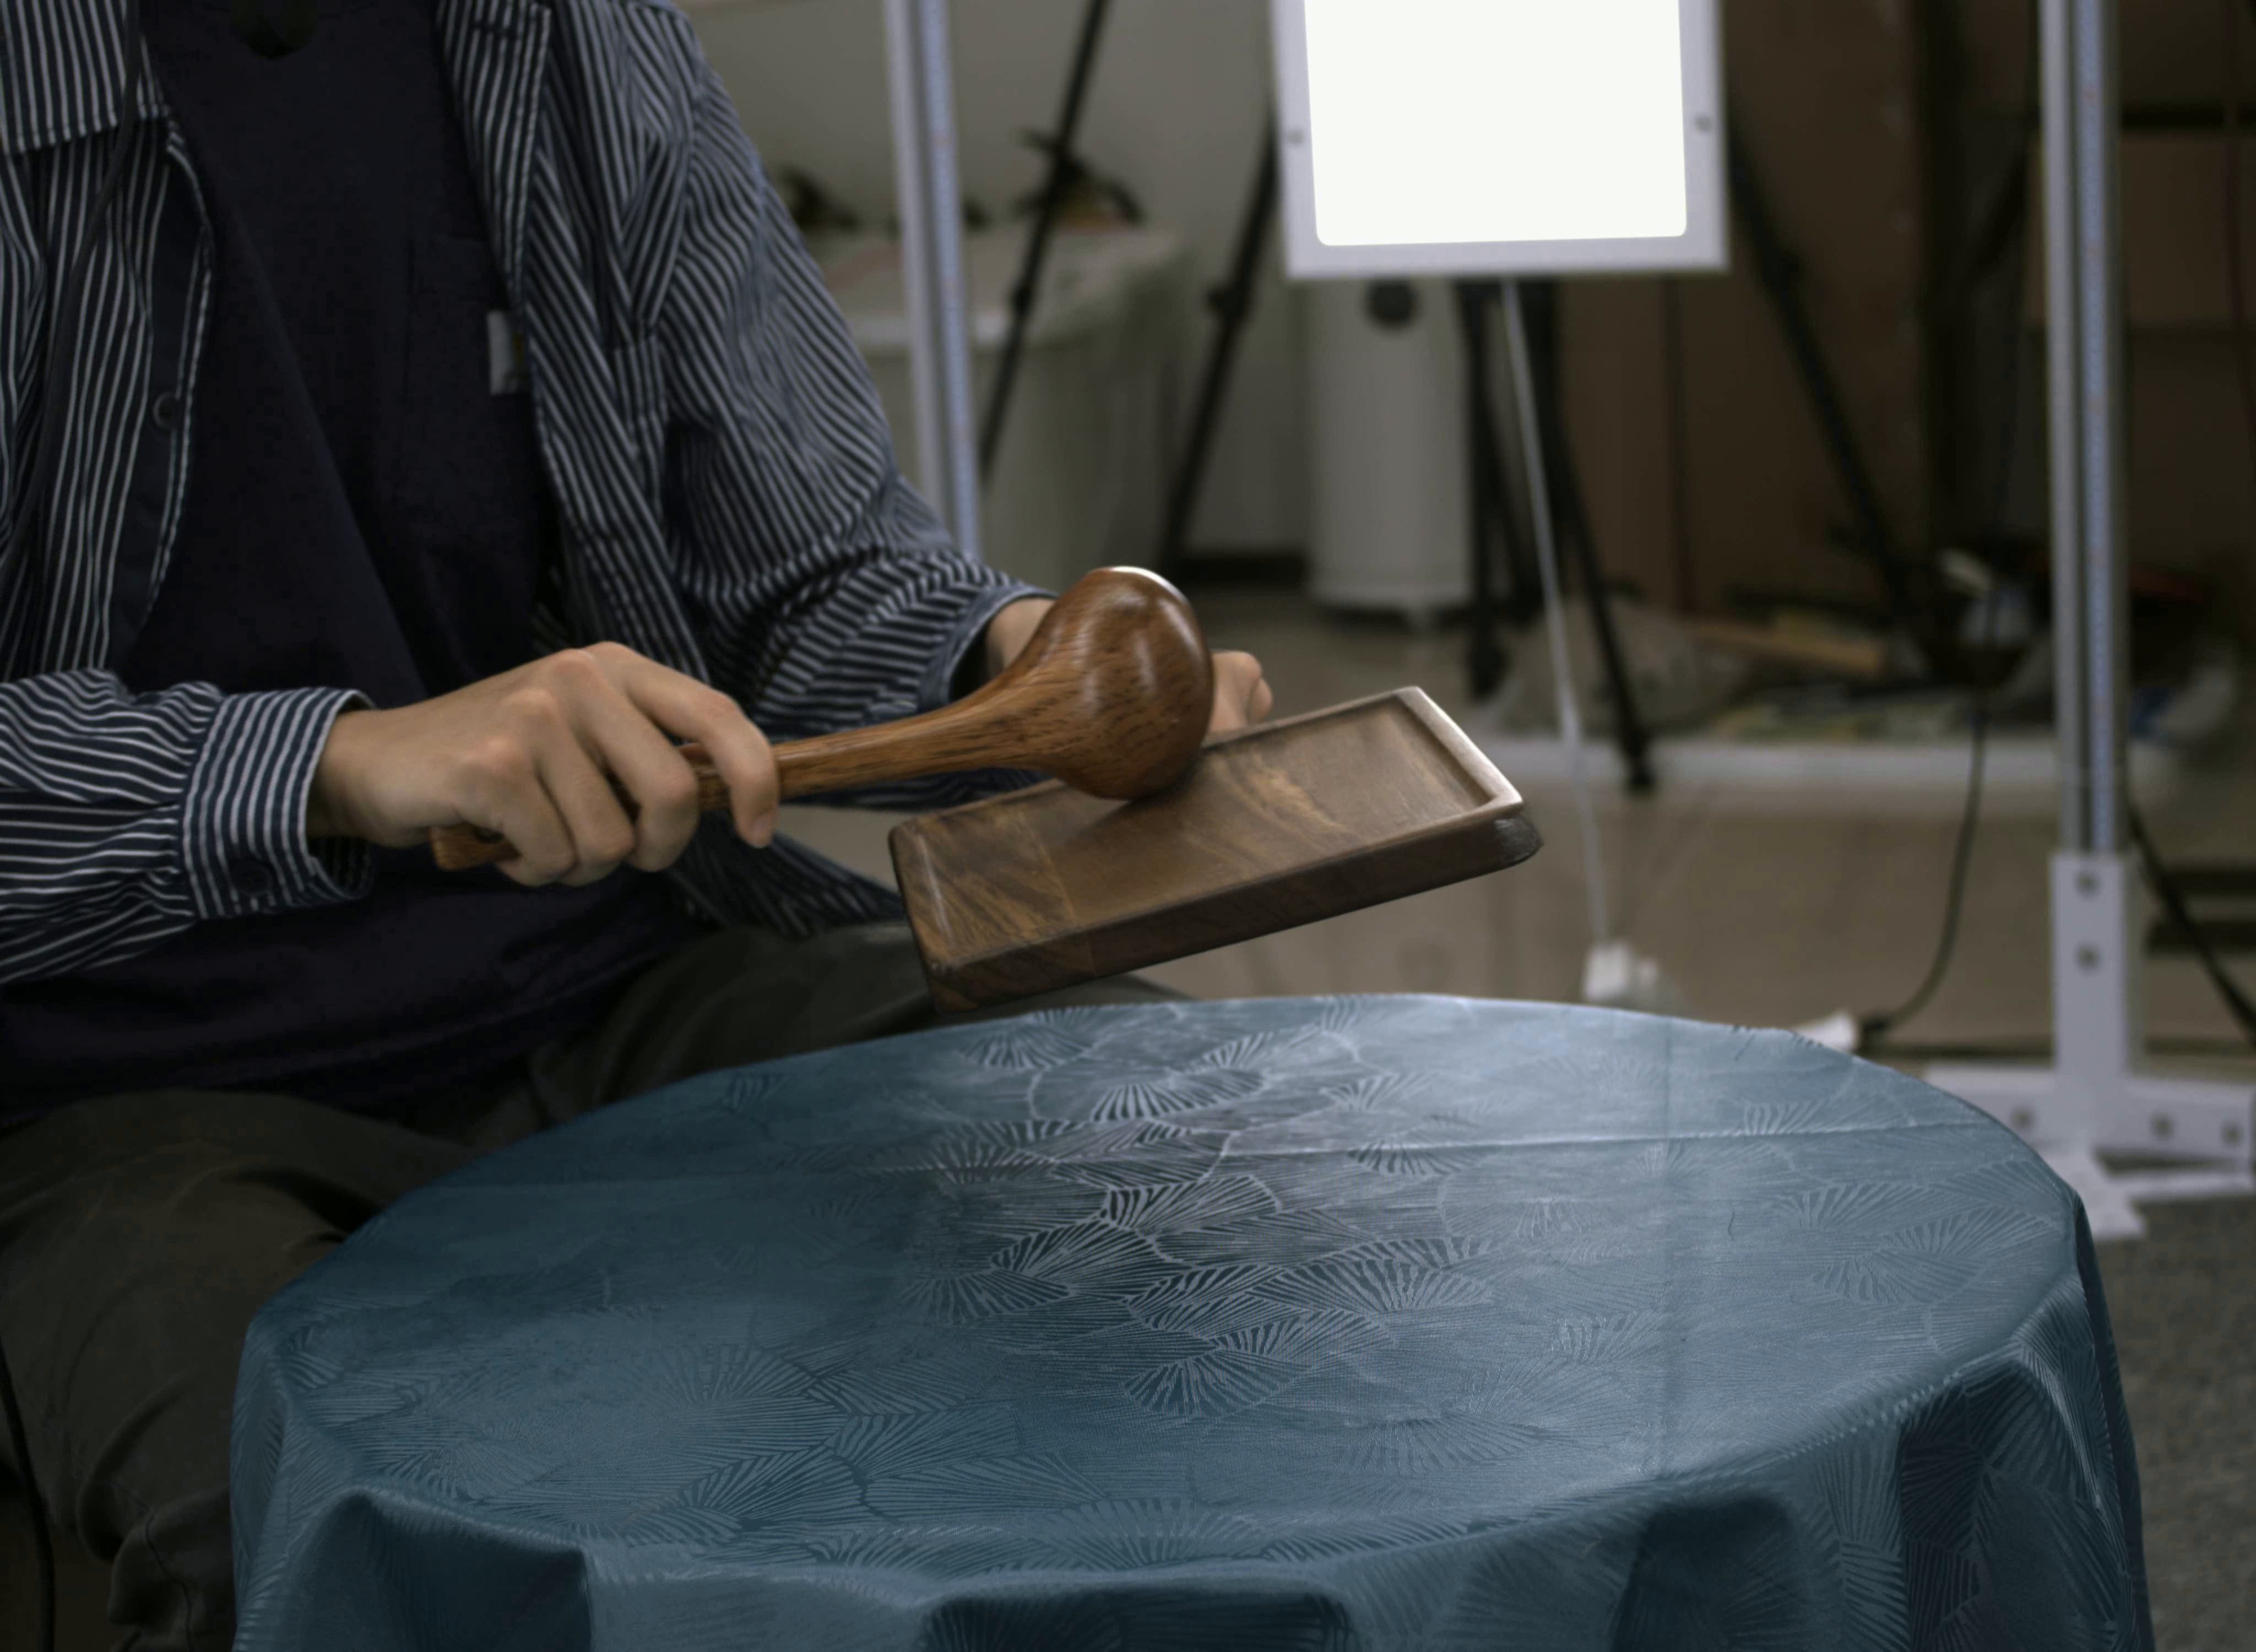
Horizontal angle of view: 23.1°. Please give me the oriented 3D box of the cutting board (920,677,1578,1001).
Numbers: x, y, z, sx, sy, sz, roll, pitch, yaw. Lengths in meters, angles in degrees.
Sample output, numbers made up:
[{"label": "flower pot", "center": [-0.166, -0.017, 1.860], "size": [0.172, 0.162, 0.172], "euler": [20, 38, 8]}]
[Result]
[{"label": "cutting board", "center": [0.030, -0.008, 1.869], "size": [0.200, 0.023, 0.352], "euler": [-15, 11, -1]}]

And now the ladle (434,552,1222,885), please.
[{"label": "ladle", "center": [-0.102, -0.030, 1.891], "size": [0.274, 0.082, 0.076], "euler": [-13, 7, 6]}]
